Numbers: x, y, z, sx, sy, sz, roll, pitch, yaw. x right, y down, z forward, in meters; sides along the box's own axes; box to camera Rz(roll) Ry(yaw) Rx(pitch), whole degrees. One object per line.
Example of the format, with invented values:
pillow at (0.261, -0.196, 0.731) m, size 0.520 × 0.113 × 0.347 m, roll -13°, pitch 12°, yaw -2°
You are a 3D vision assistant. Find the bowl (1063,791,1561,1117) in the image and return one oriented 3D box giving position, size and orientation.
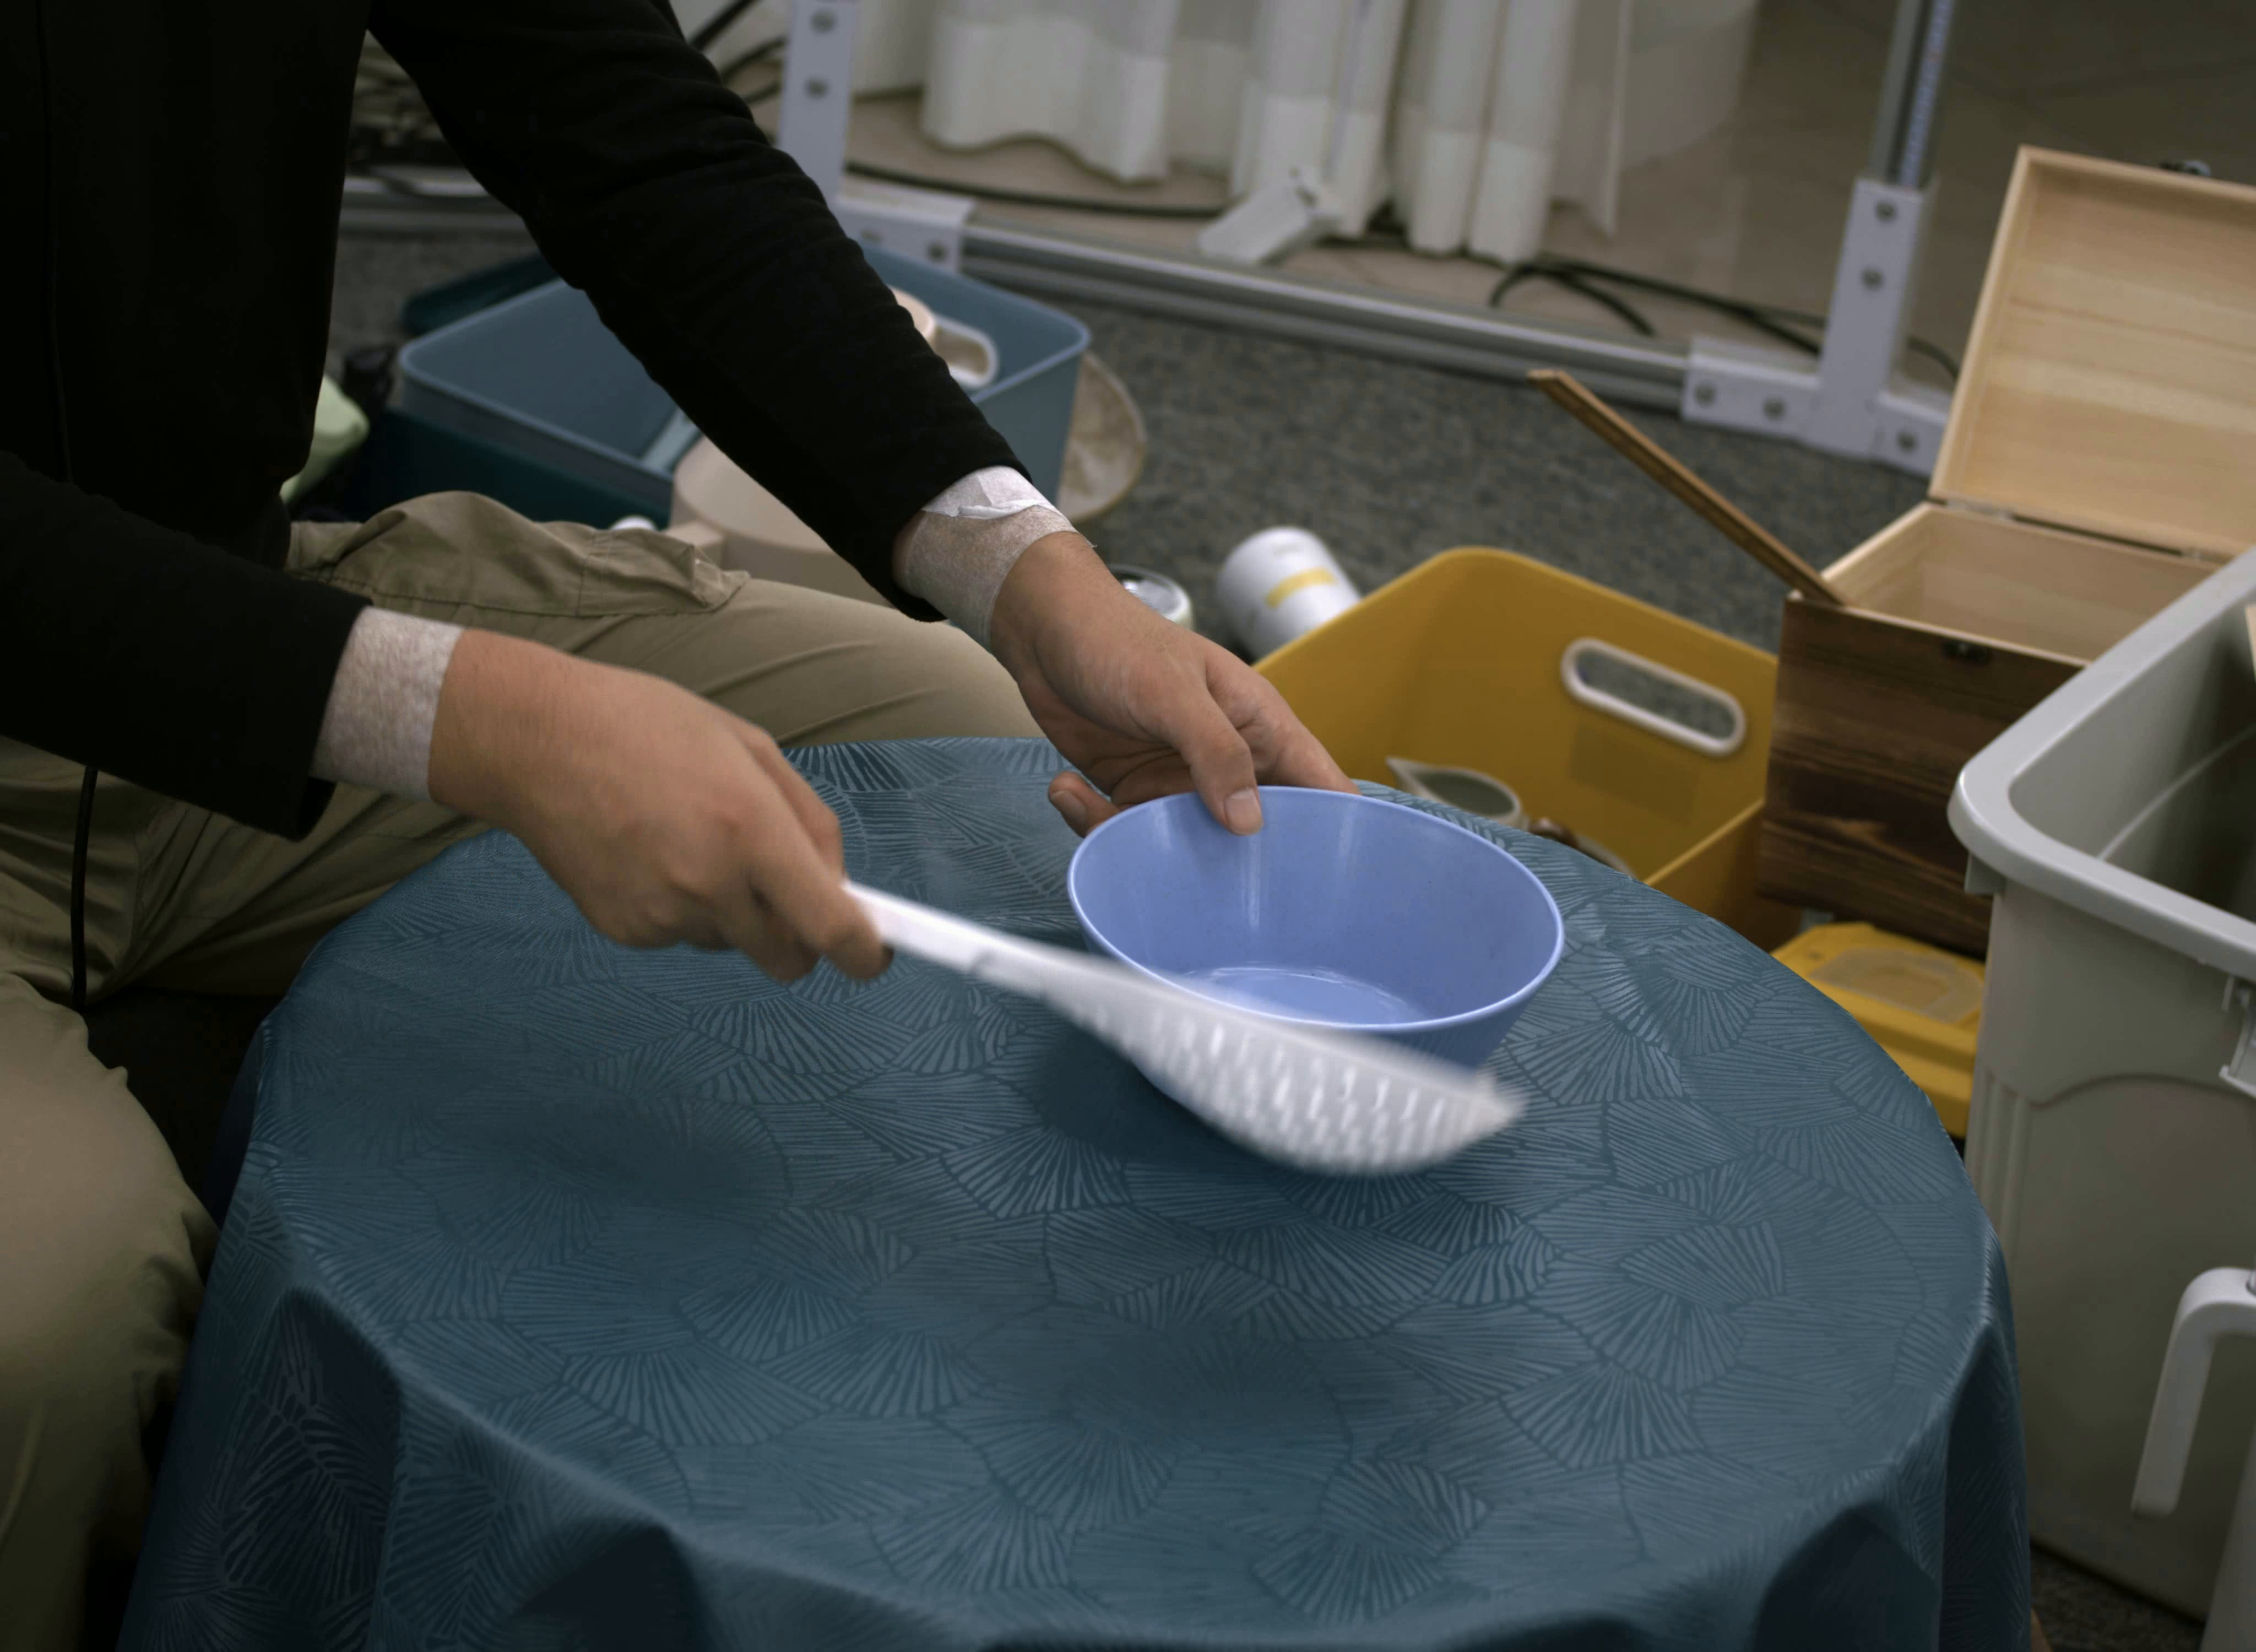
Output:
bowl at (0.061, 0.054, 1.874) m, size 0.175 × 0.070 × 0.177 m, roll 4°, pitch 26°, yaw -2°

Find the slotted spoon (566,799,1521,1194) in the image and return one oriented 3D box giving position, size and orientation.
slotted spoon at (-0.036, 0.050, 1.726) m, size 0.351 × 0.046 × 0.135 m, roll 24°, pitch 1°, yaw 25°
